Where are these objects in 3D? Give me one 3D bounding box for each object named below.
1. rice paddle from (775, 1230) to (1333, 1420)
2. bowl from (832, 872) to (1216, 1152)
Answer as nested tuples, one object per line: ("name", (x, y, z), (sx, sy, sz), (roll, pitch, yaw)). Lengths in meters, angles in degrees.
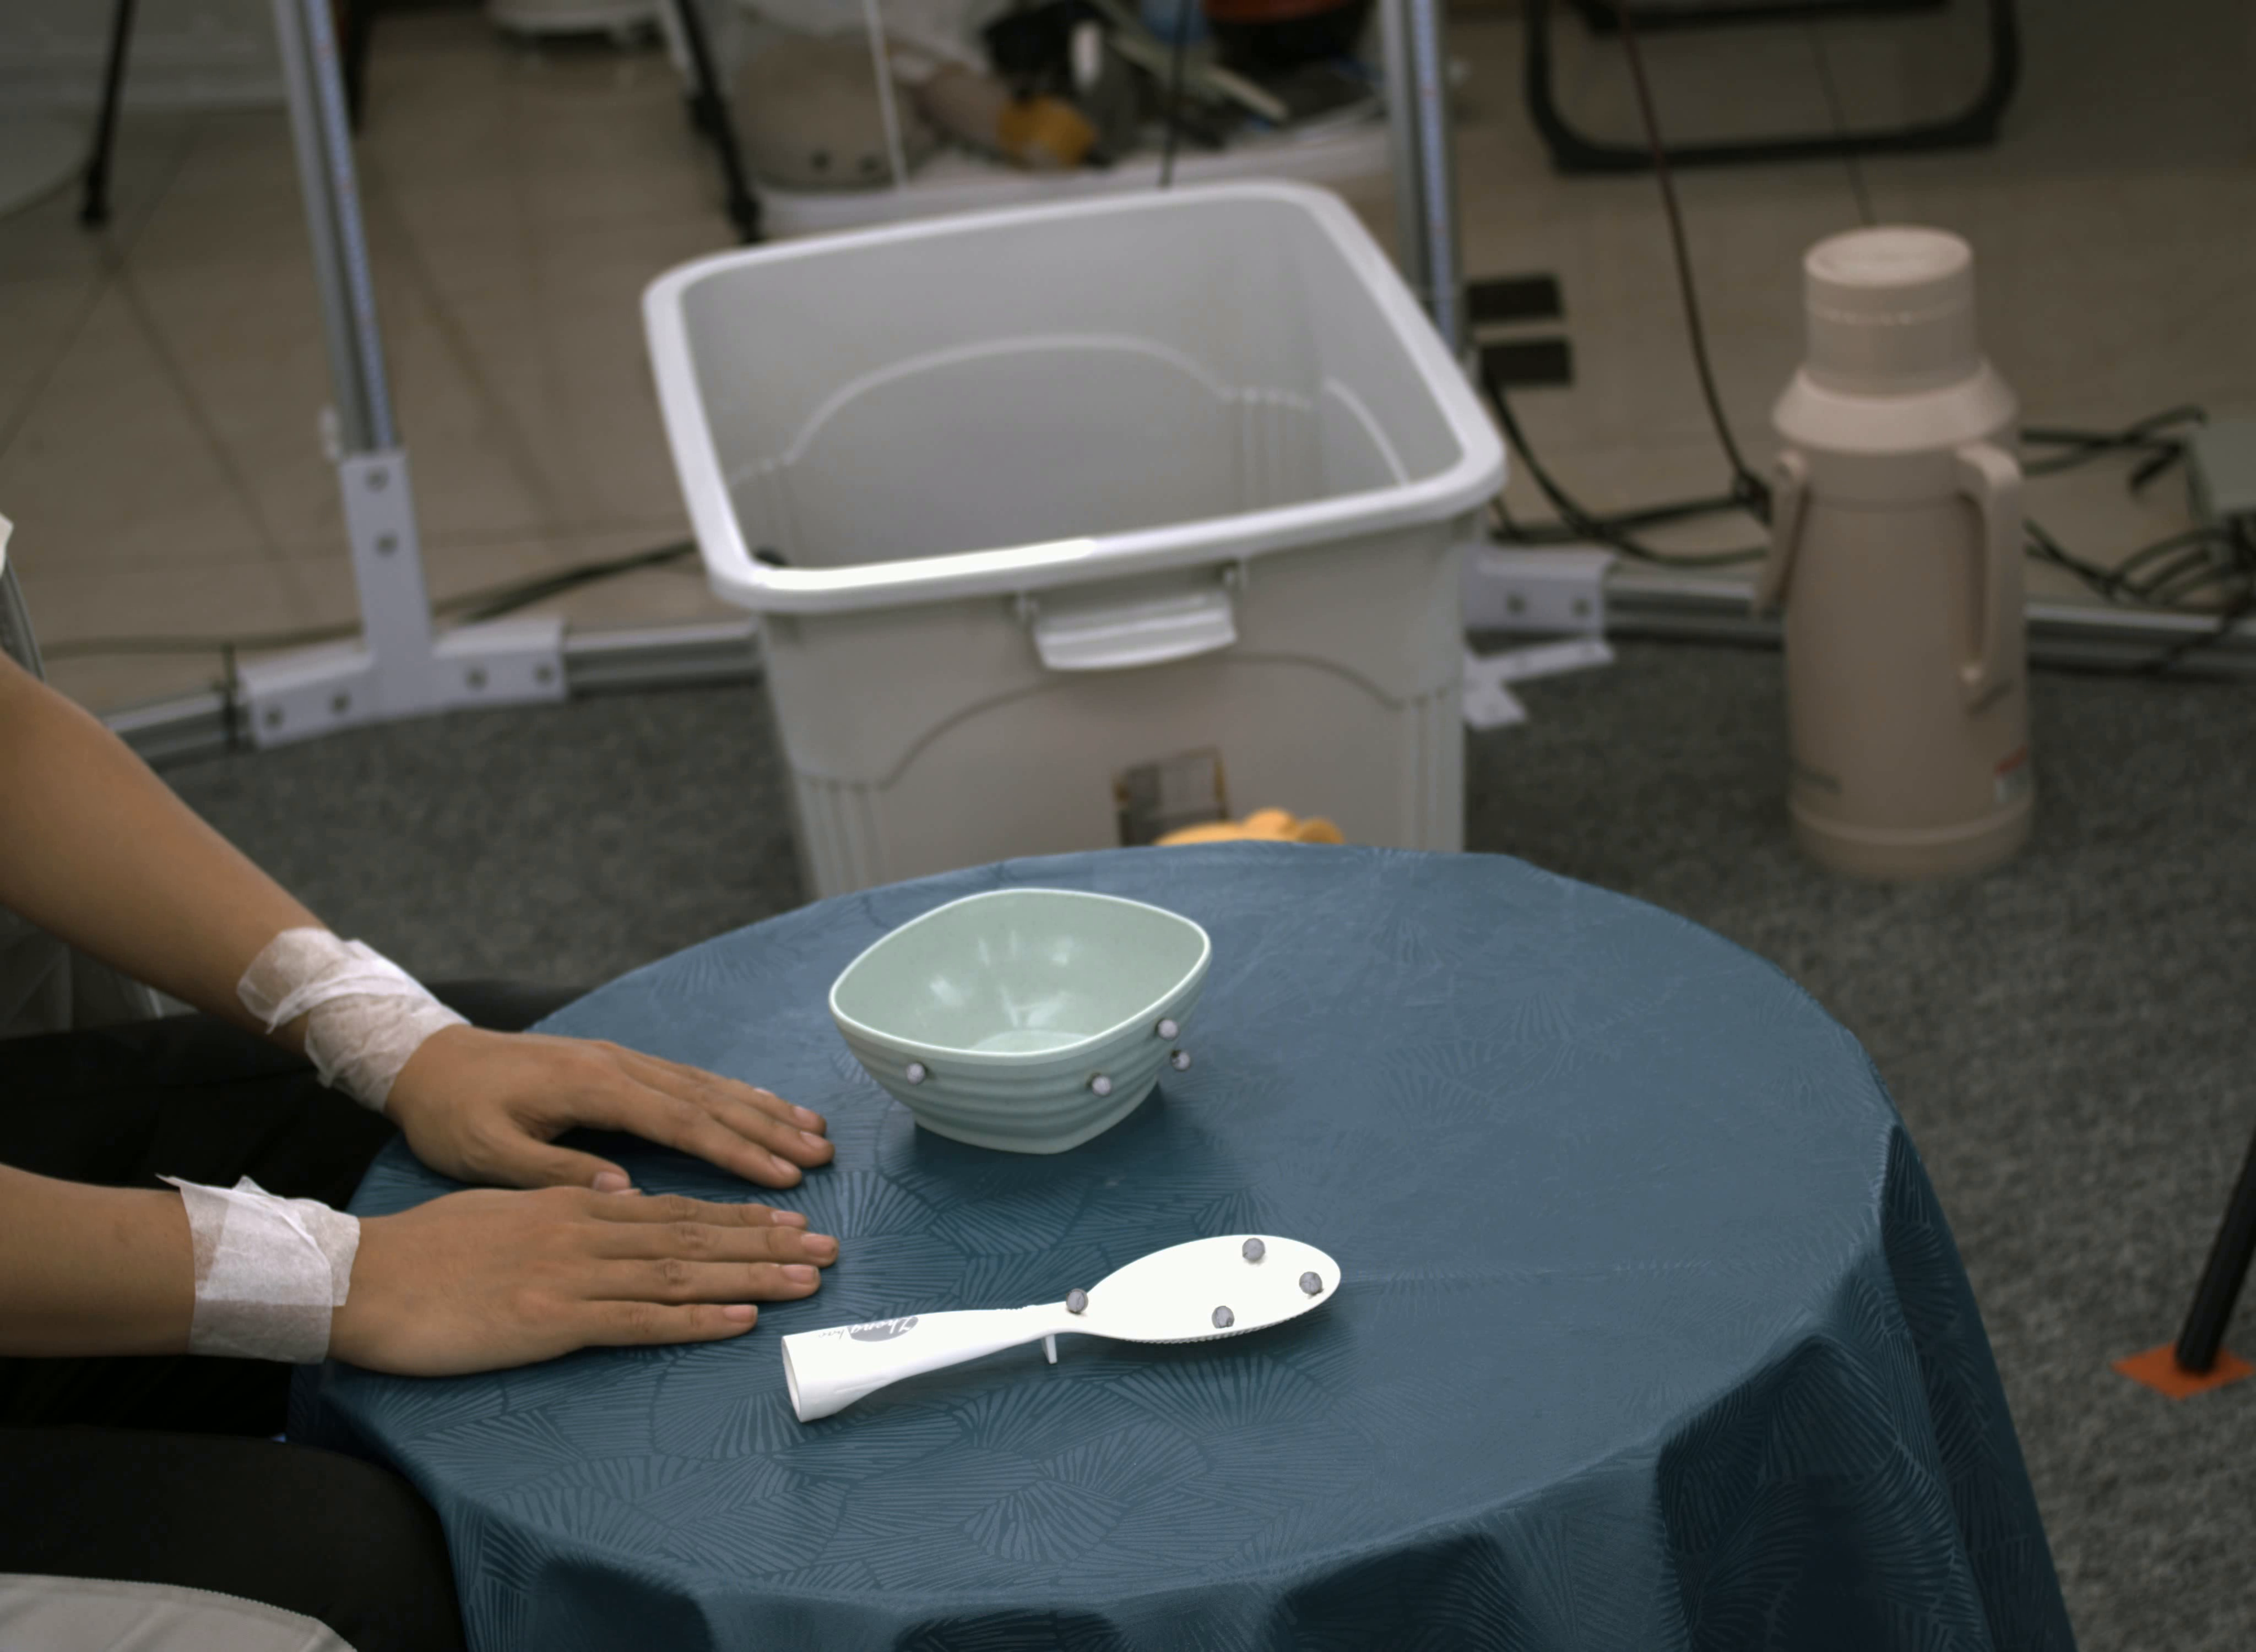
("rice paddle", (-0.025, 0.176, 2.042), (0.205, 0.030, 0.068), (-12, 27, -11))
("bowl", (-0.038, 0.079, 2.217), (0.151, 0.059, 0.149), (-4, 29, 2))
